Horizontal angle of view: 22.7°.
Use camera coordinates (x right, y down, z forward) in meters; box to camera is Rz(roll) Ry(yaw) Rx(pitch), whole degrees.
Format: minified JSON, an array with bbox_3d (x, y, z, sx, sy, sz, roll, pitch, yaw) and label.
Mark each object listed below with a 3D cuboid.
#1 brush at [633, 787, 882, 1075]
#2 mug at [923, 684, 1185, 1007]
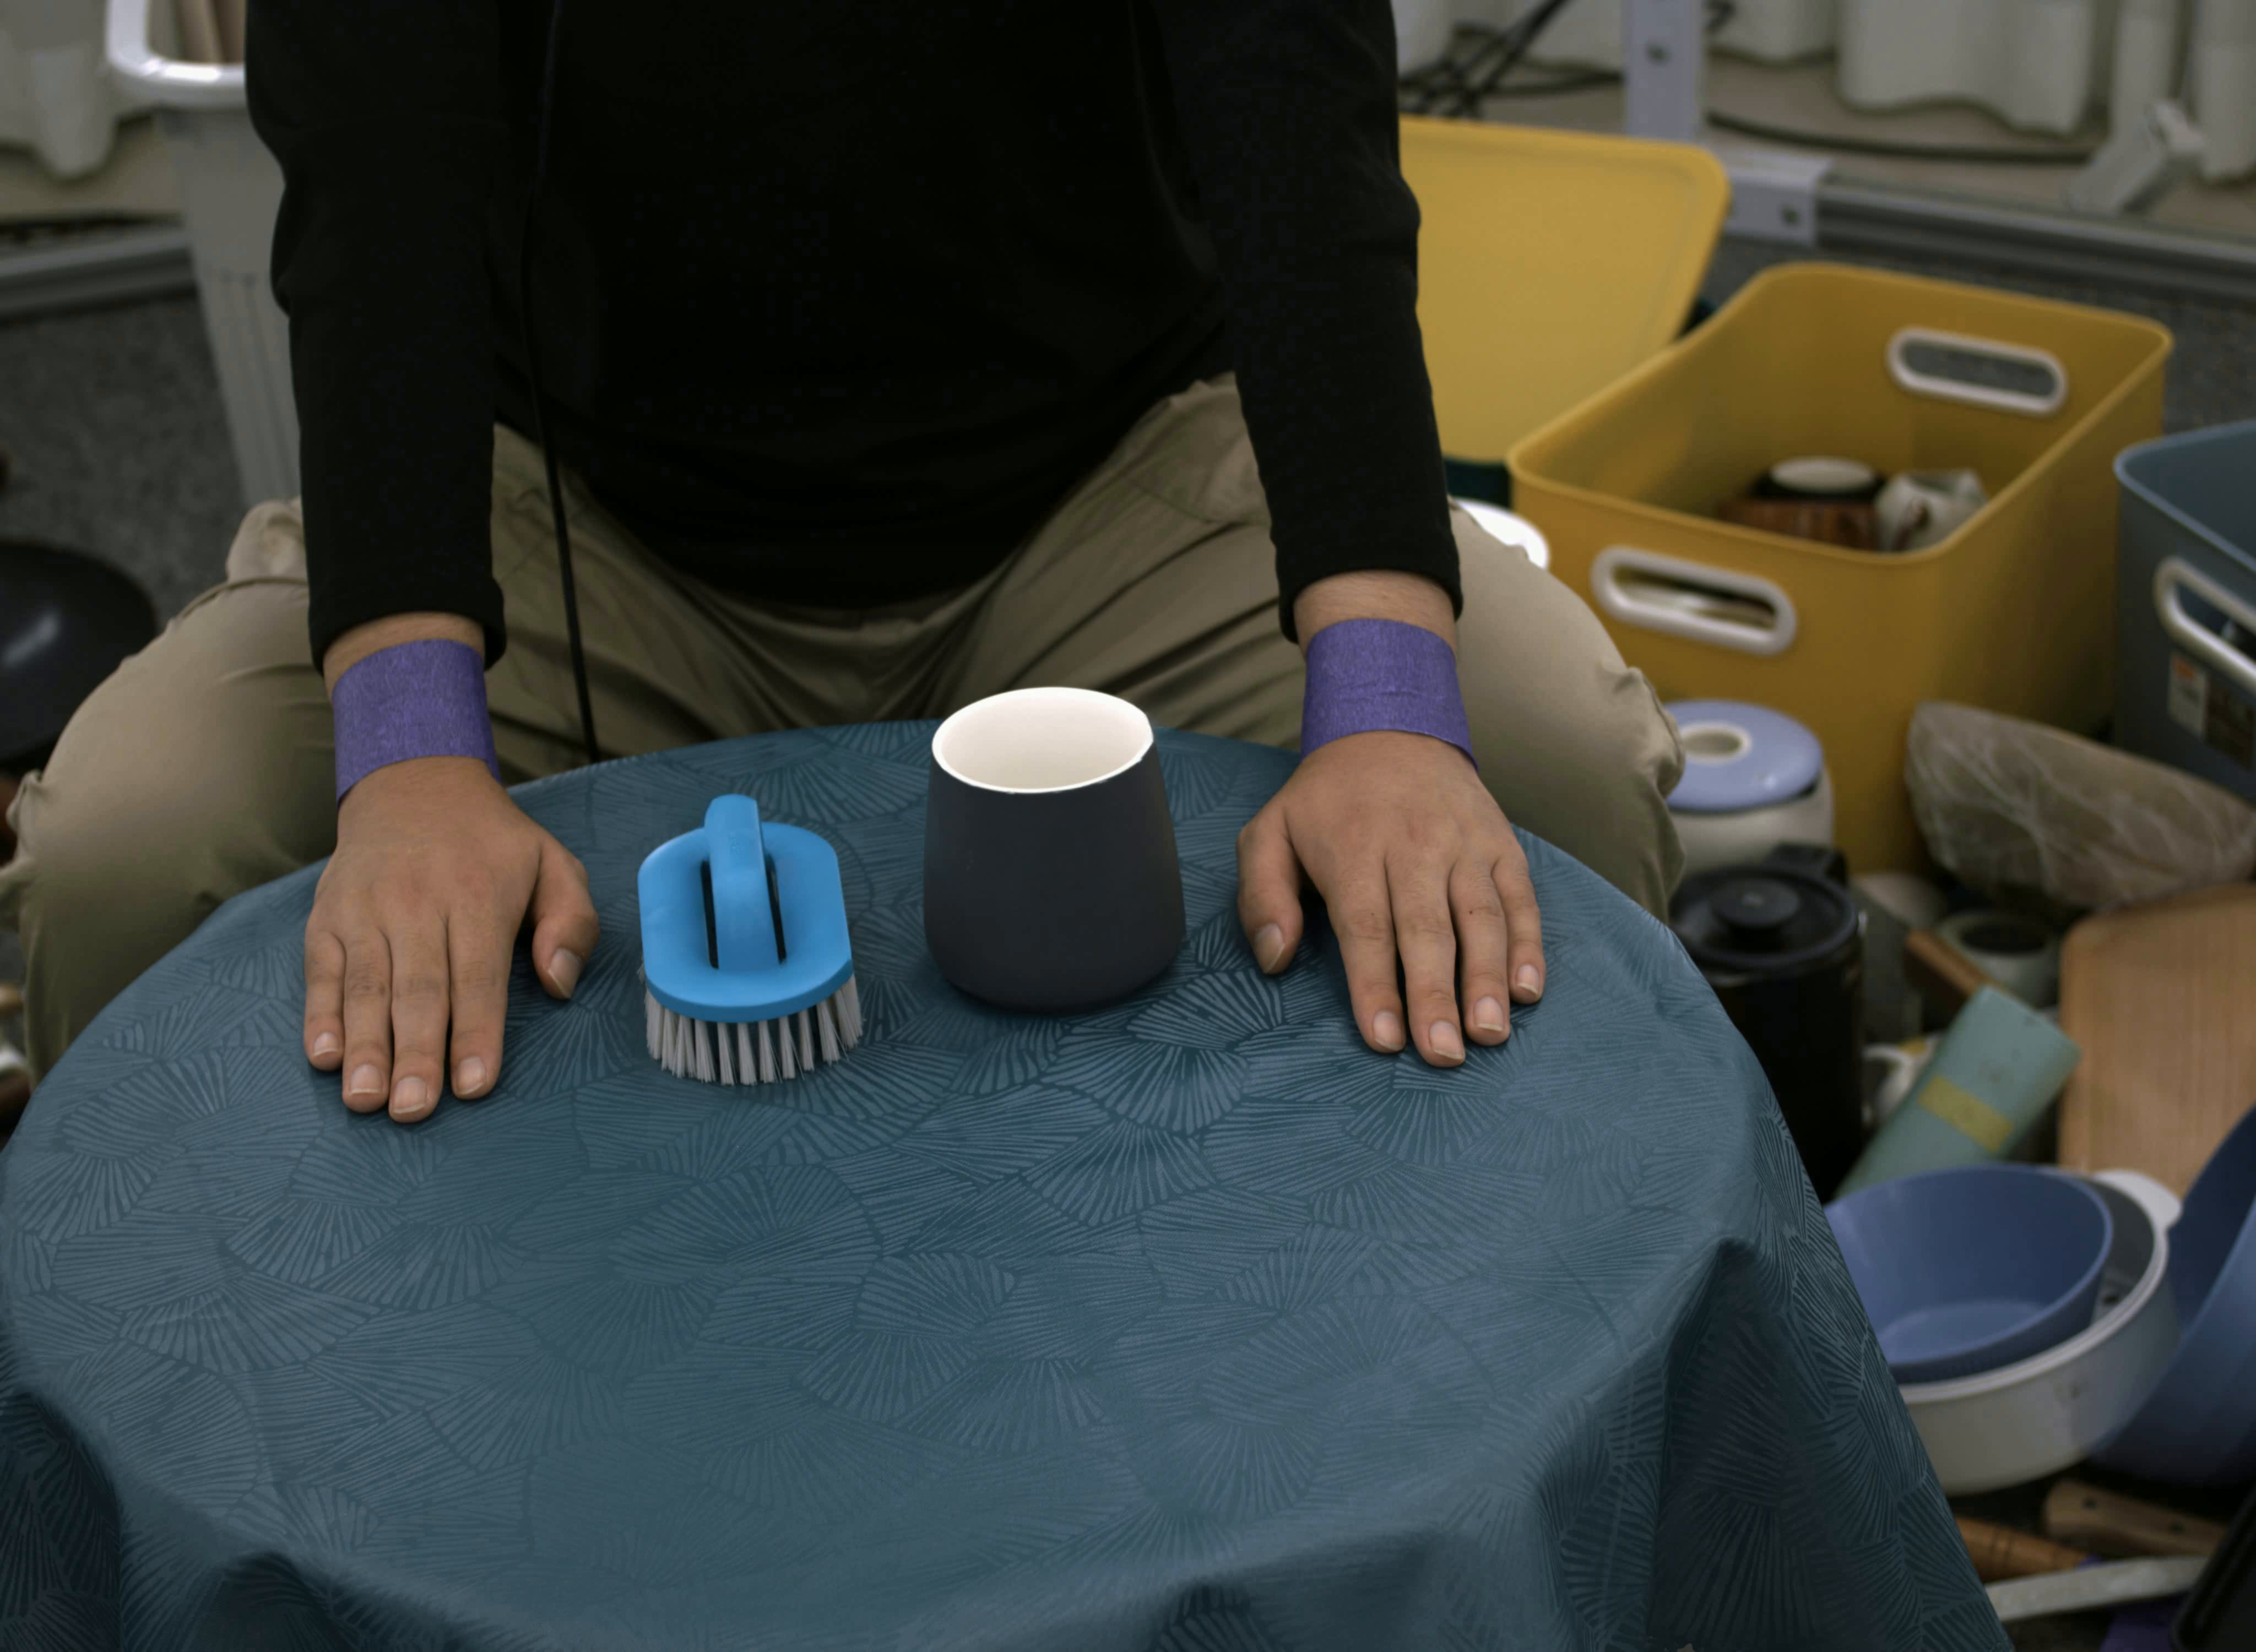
[{"bbox_3d":[-0.134,0.029,1.983,0.084,0.063,0.143,-9,26,-1],"label":"brush"},{"bbox_3d":[-0.027,0.000,1.997,0.093,0.089,0.125,-2,29,0],"label":"mug"}]
